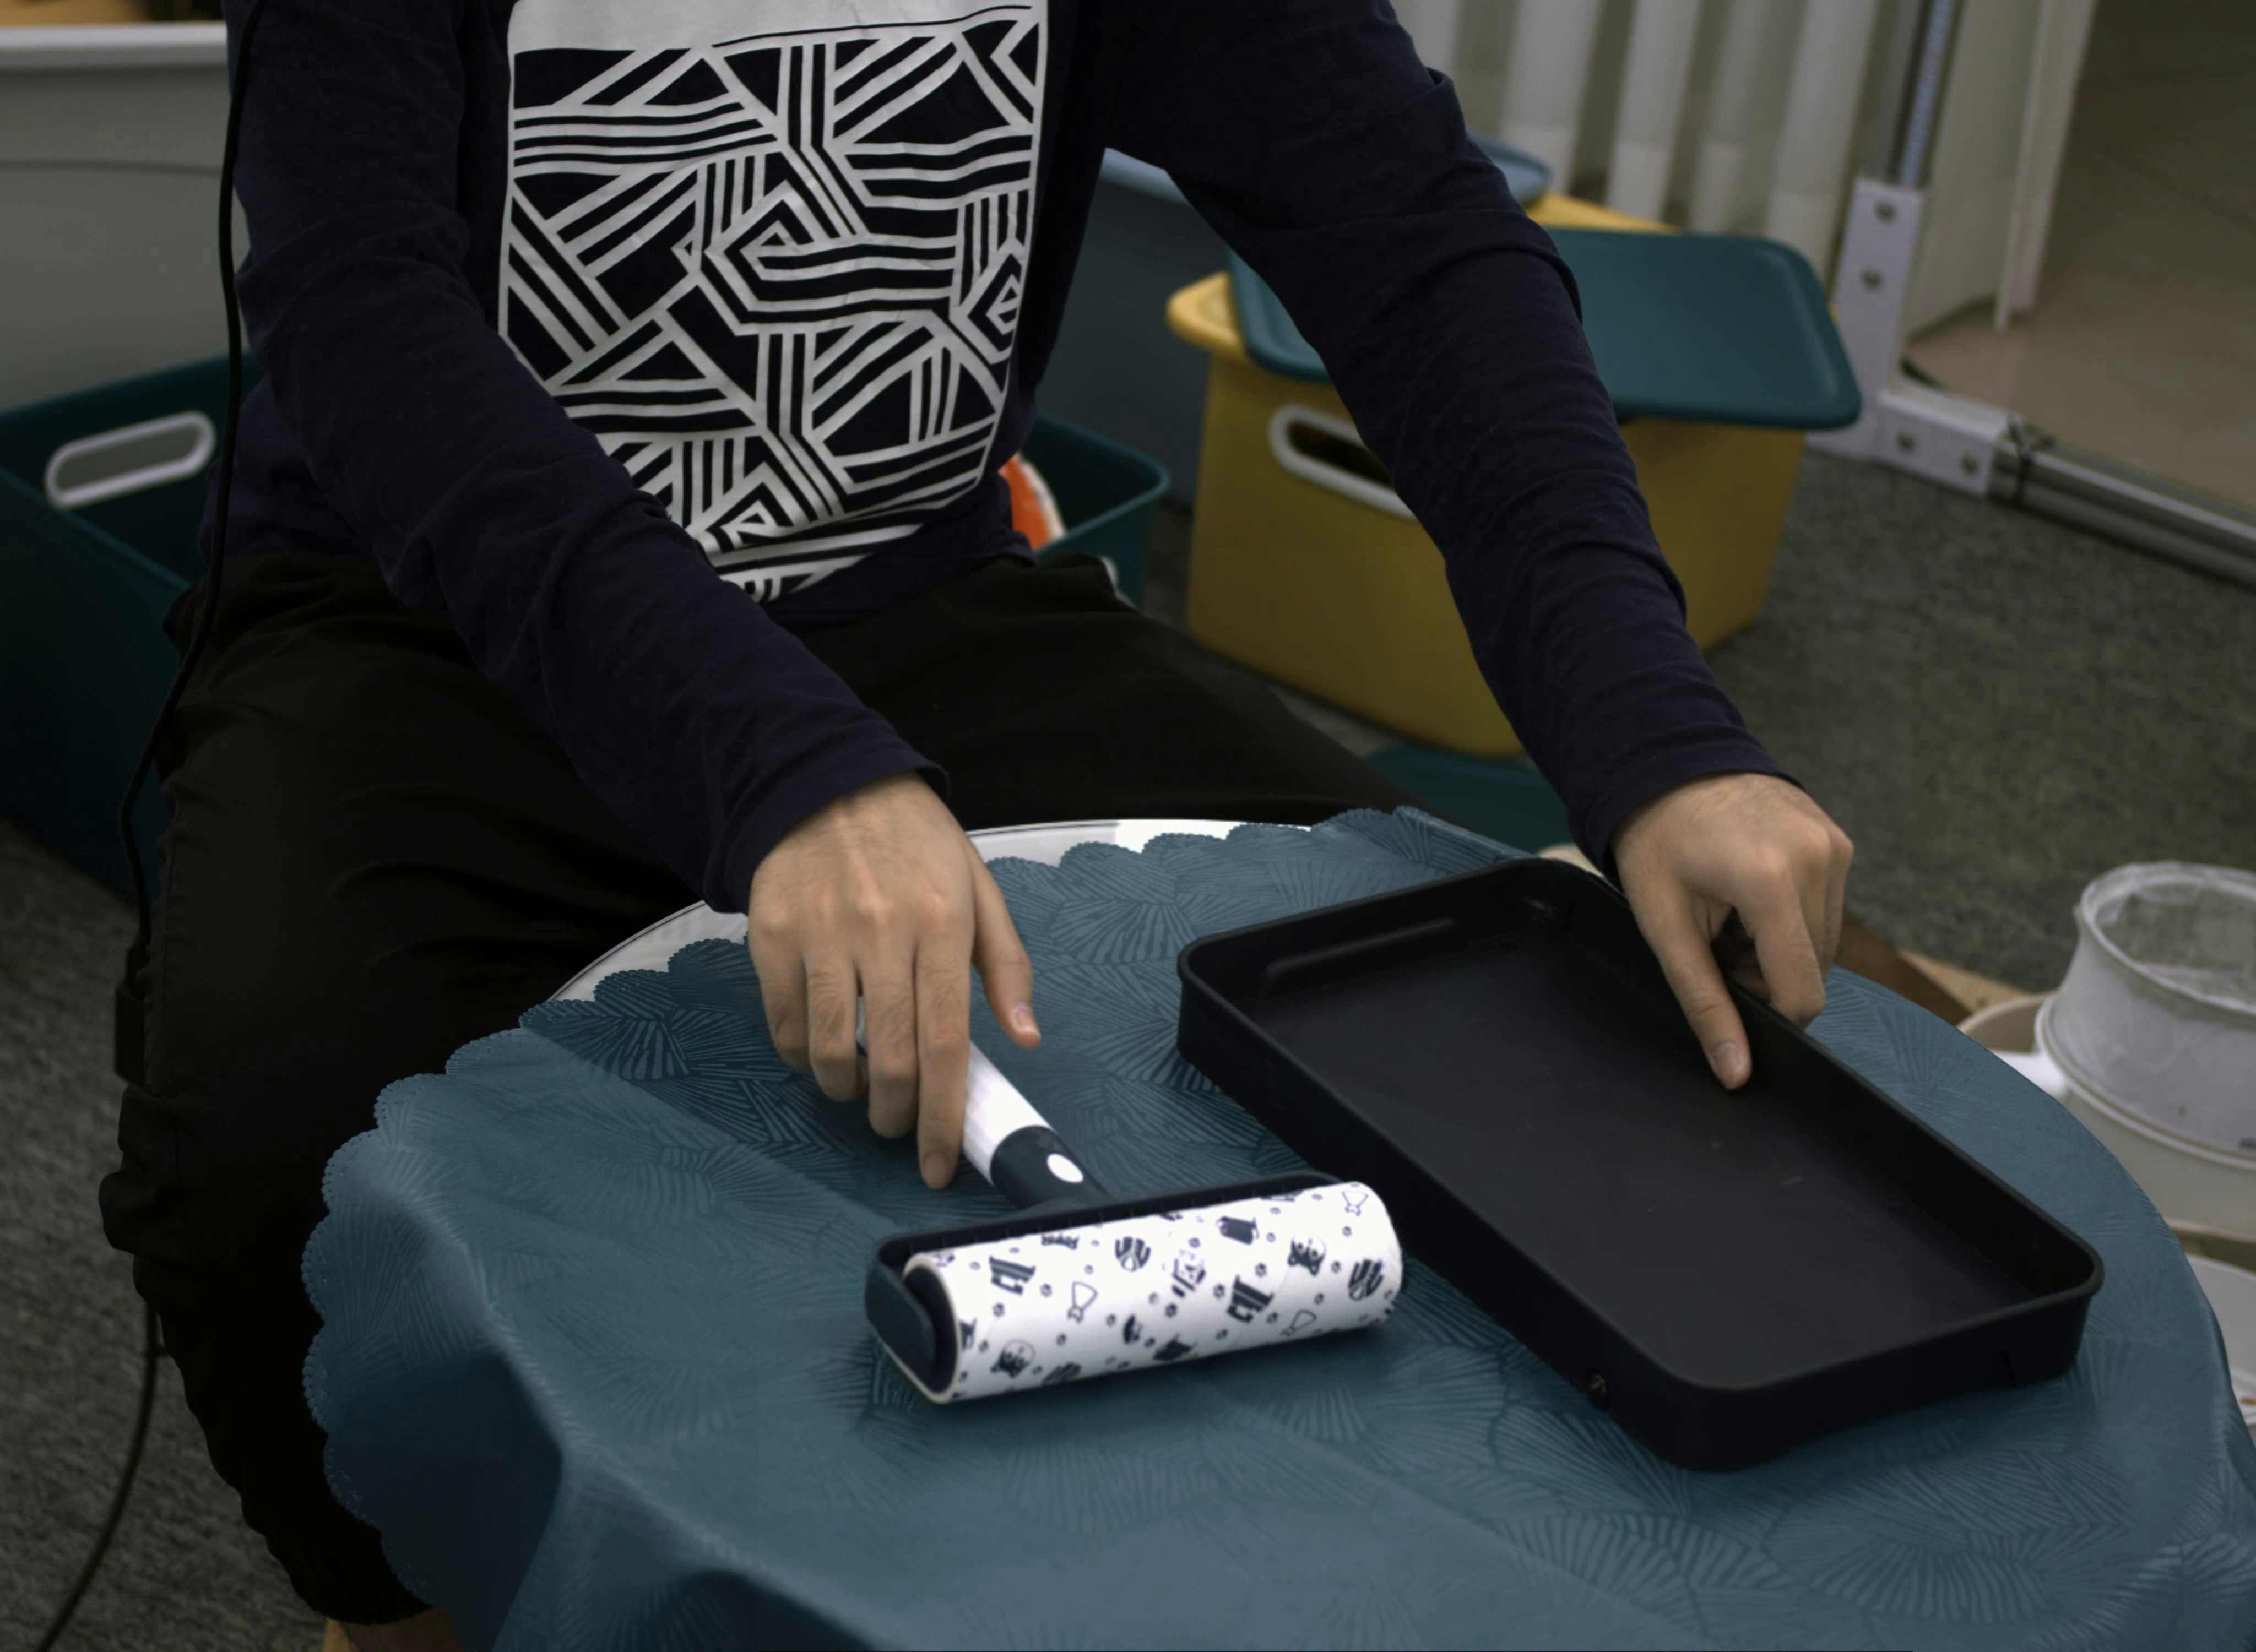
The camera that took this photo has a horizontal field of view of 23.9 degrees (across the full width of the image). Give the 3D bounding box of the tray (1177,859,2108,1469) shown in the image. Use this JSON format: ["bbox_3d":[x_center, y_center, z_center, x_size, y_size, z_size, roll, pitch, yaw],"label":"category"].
[{"bbox_3d":[0.169,0.109,1.828,0.183,0.037,0.321,-12,32,-31],"label":"tray"}]

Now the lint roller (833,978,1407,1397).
[{"bbox_3d":[-0.041,0.105,1.783,0.175,0.050,0.249,-9,29,-27],"label":"lint roller"}]
